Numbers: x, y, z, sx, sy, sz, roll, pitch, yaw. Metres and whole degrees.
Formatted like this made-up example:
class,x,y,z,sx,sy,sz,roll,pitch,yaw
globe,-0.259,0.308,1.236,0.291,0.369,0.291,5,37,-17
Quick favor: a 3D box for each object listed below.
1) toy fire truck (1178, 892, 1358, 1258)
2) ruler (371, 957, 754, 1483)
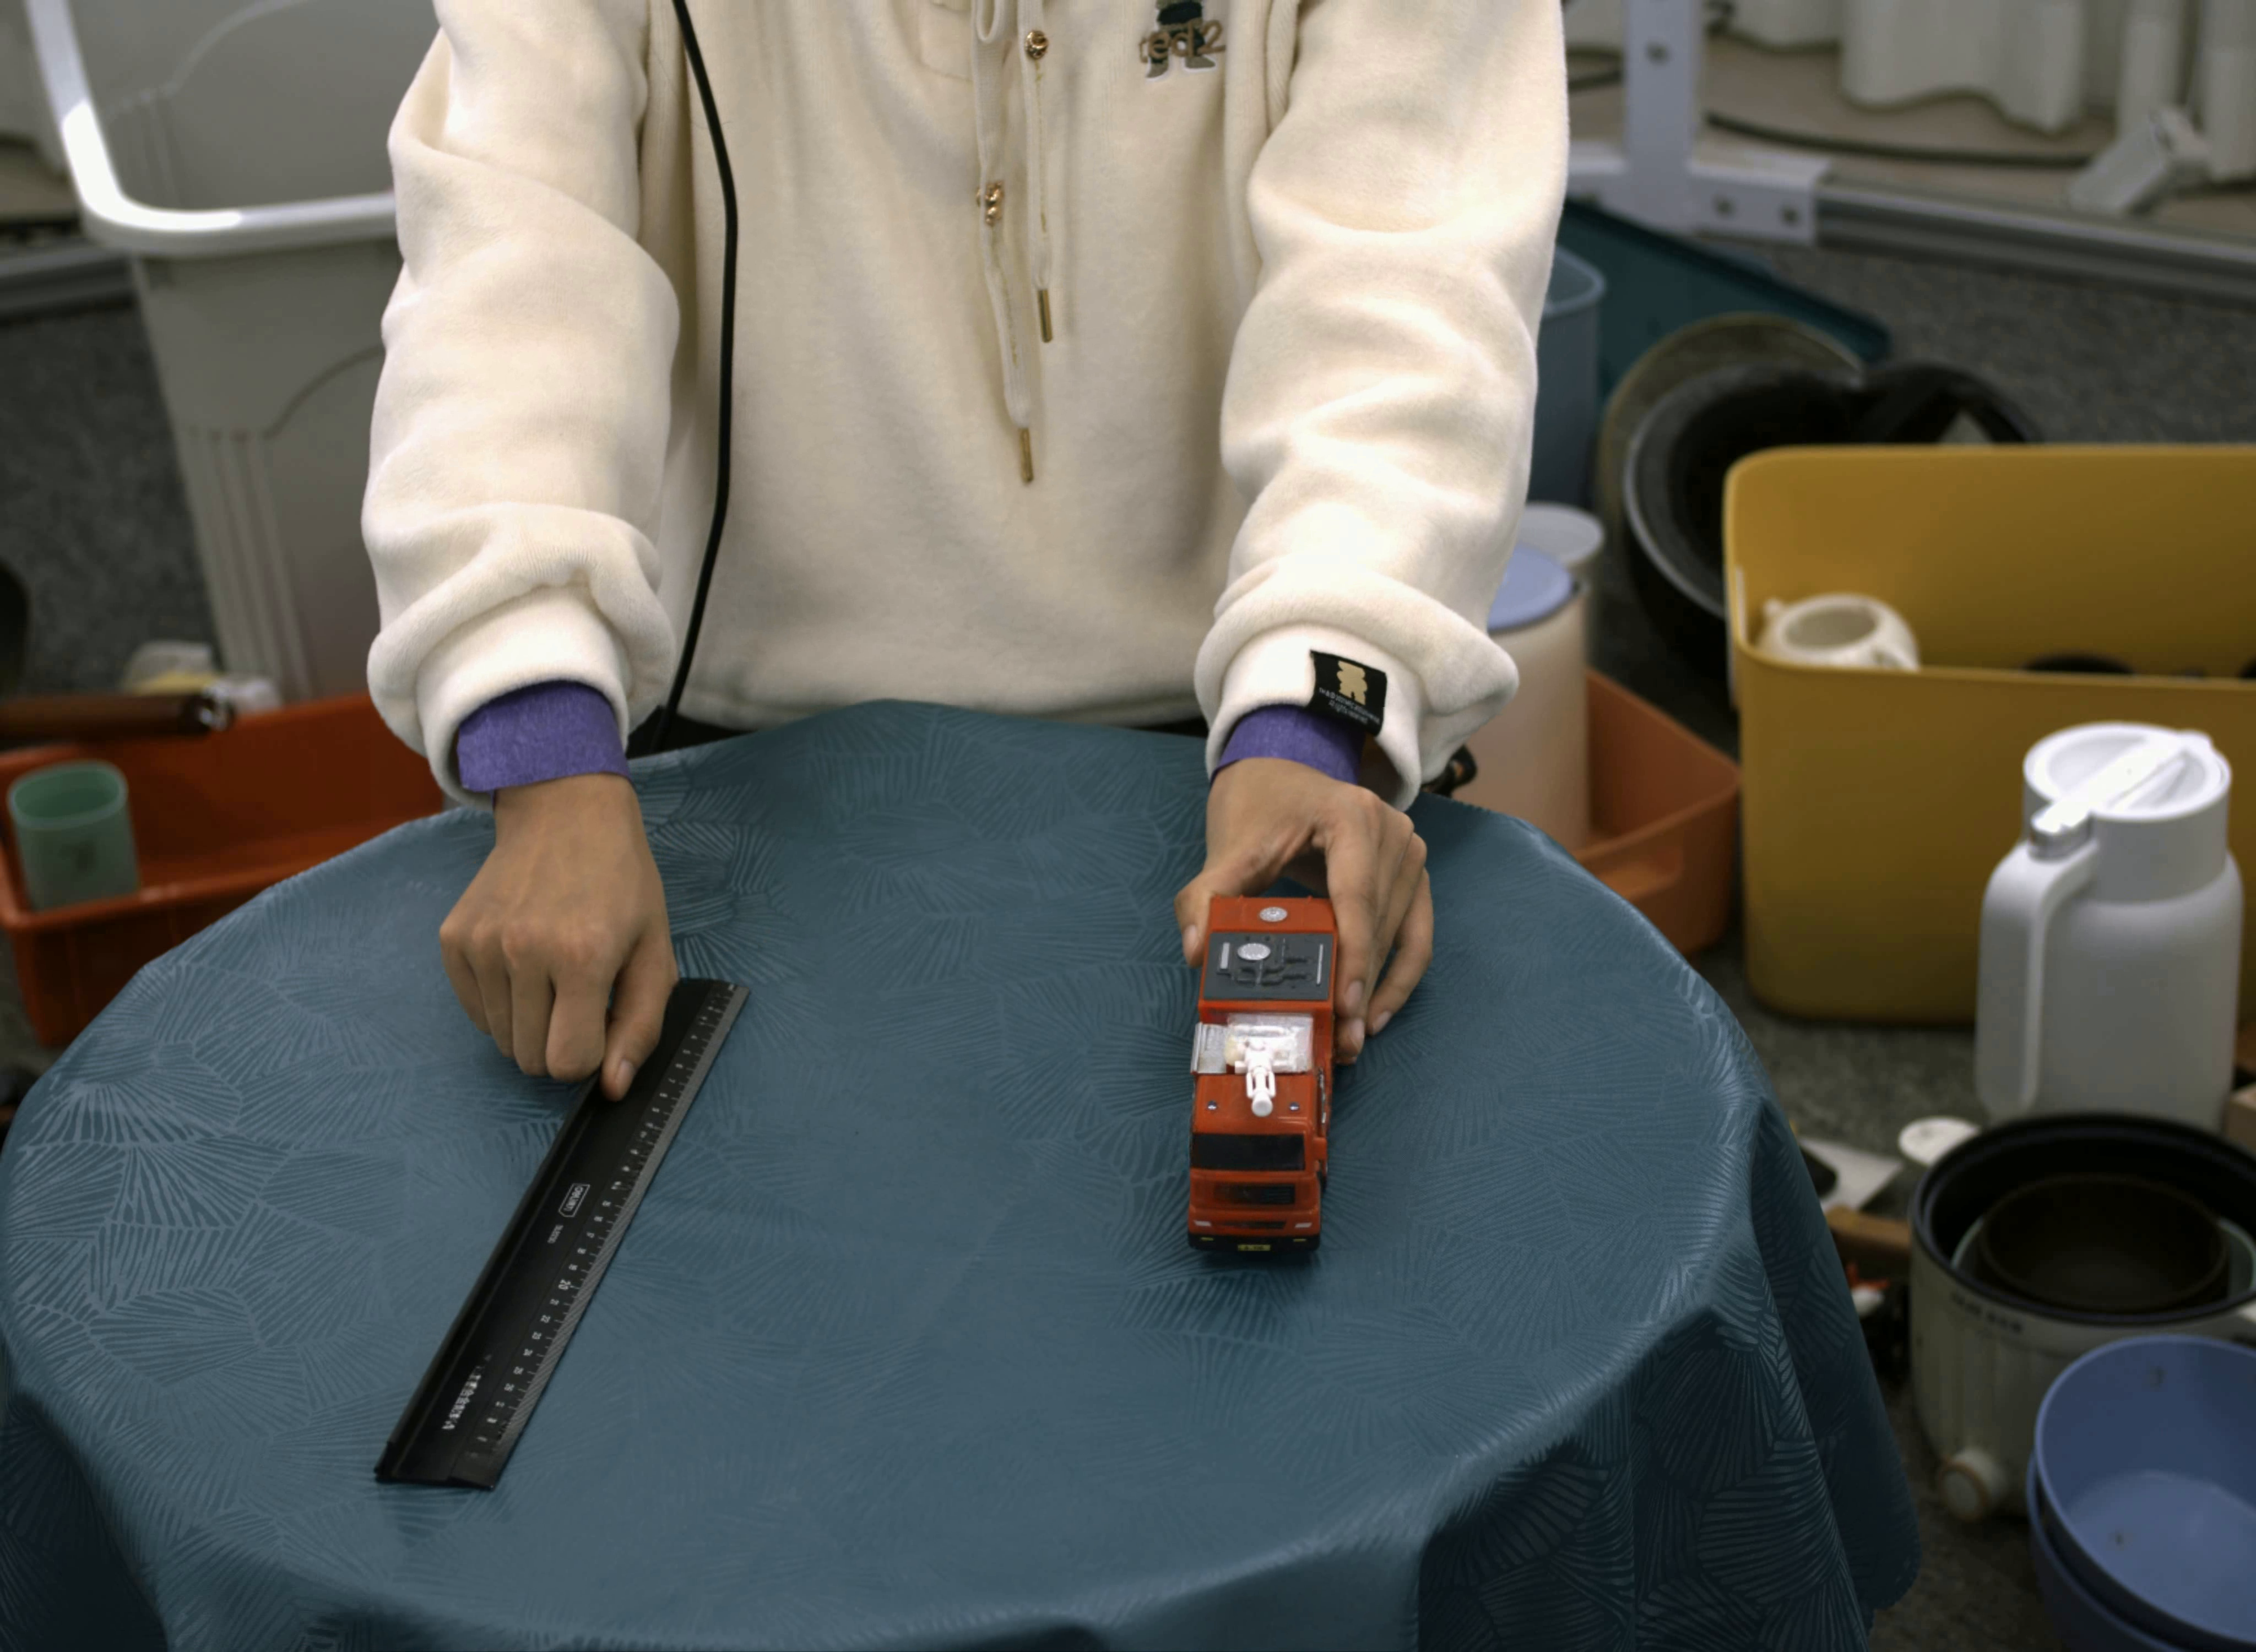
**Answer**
class,x,y,z,sx,sy,sz,roll,pitch,yaw
toy fire truck,0.047,0.082,1.870,0.053,0.069,0.170,0,26,5
ruler,-0.183,0.125,1.857,0.039,0.017,0.318,5,28,11
